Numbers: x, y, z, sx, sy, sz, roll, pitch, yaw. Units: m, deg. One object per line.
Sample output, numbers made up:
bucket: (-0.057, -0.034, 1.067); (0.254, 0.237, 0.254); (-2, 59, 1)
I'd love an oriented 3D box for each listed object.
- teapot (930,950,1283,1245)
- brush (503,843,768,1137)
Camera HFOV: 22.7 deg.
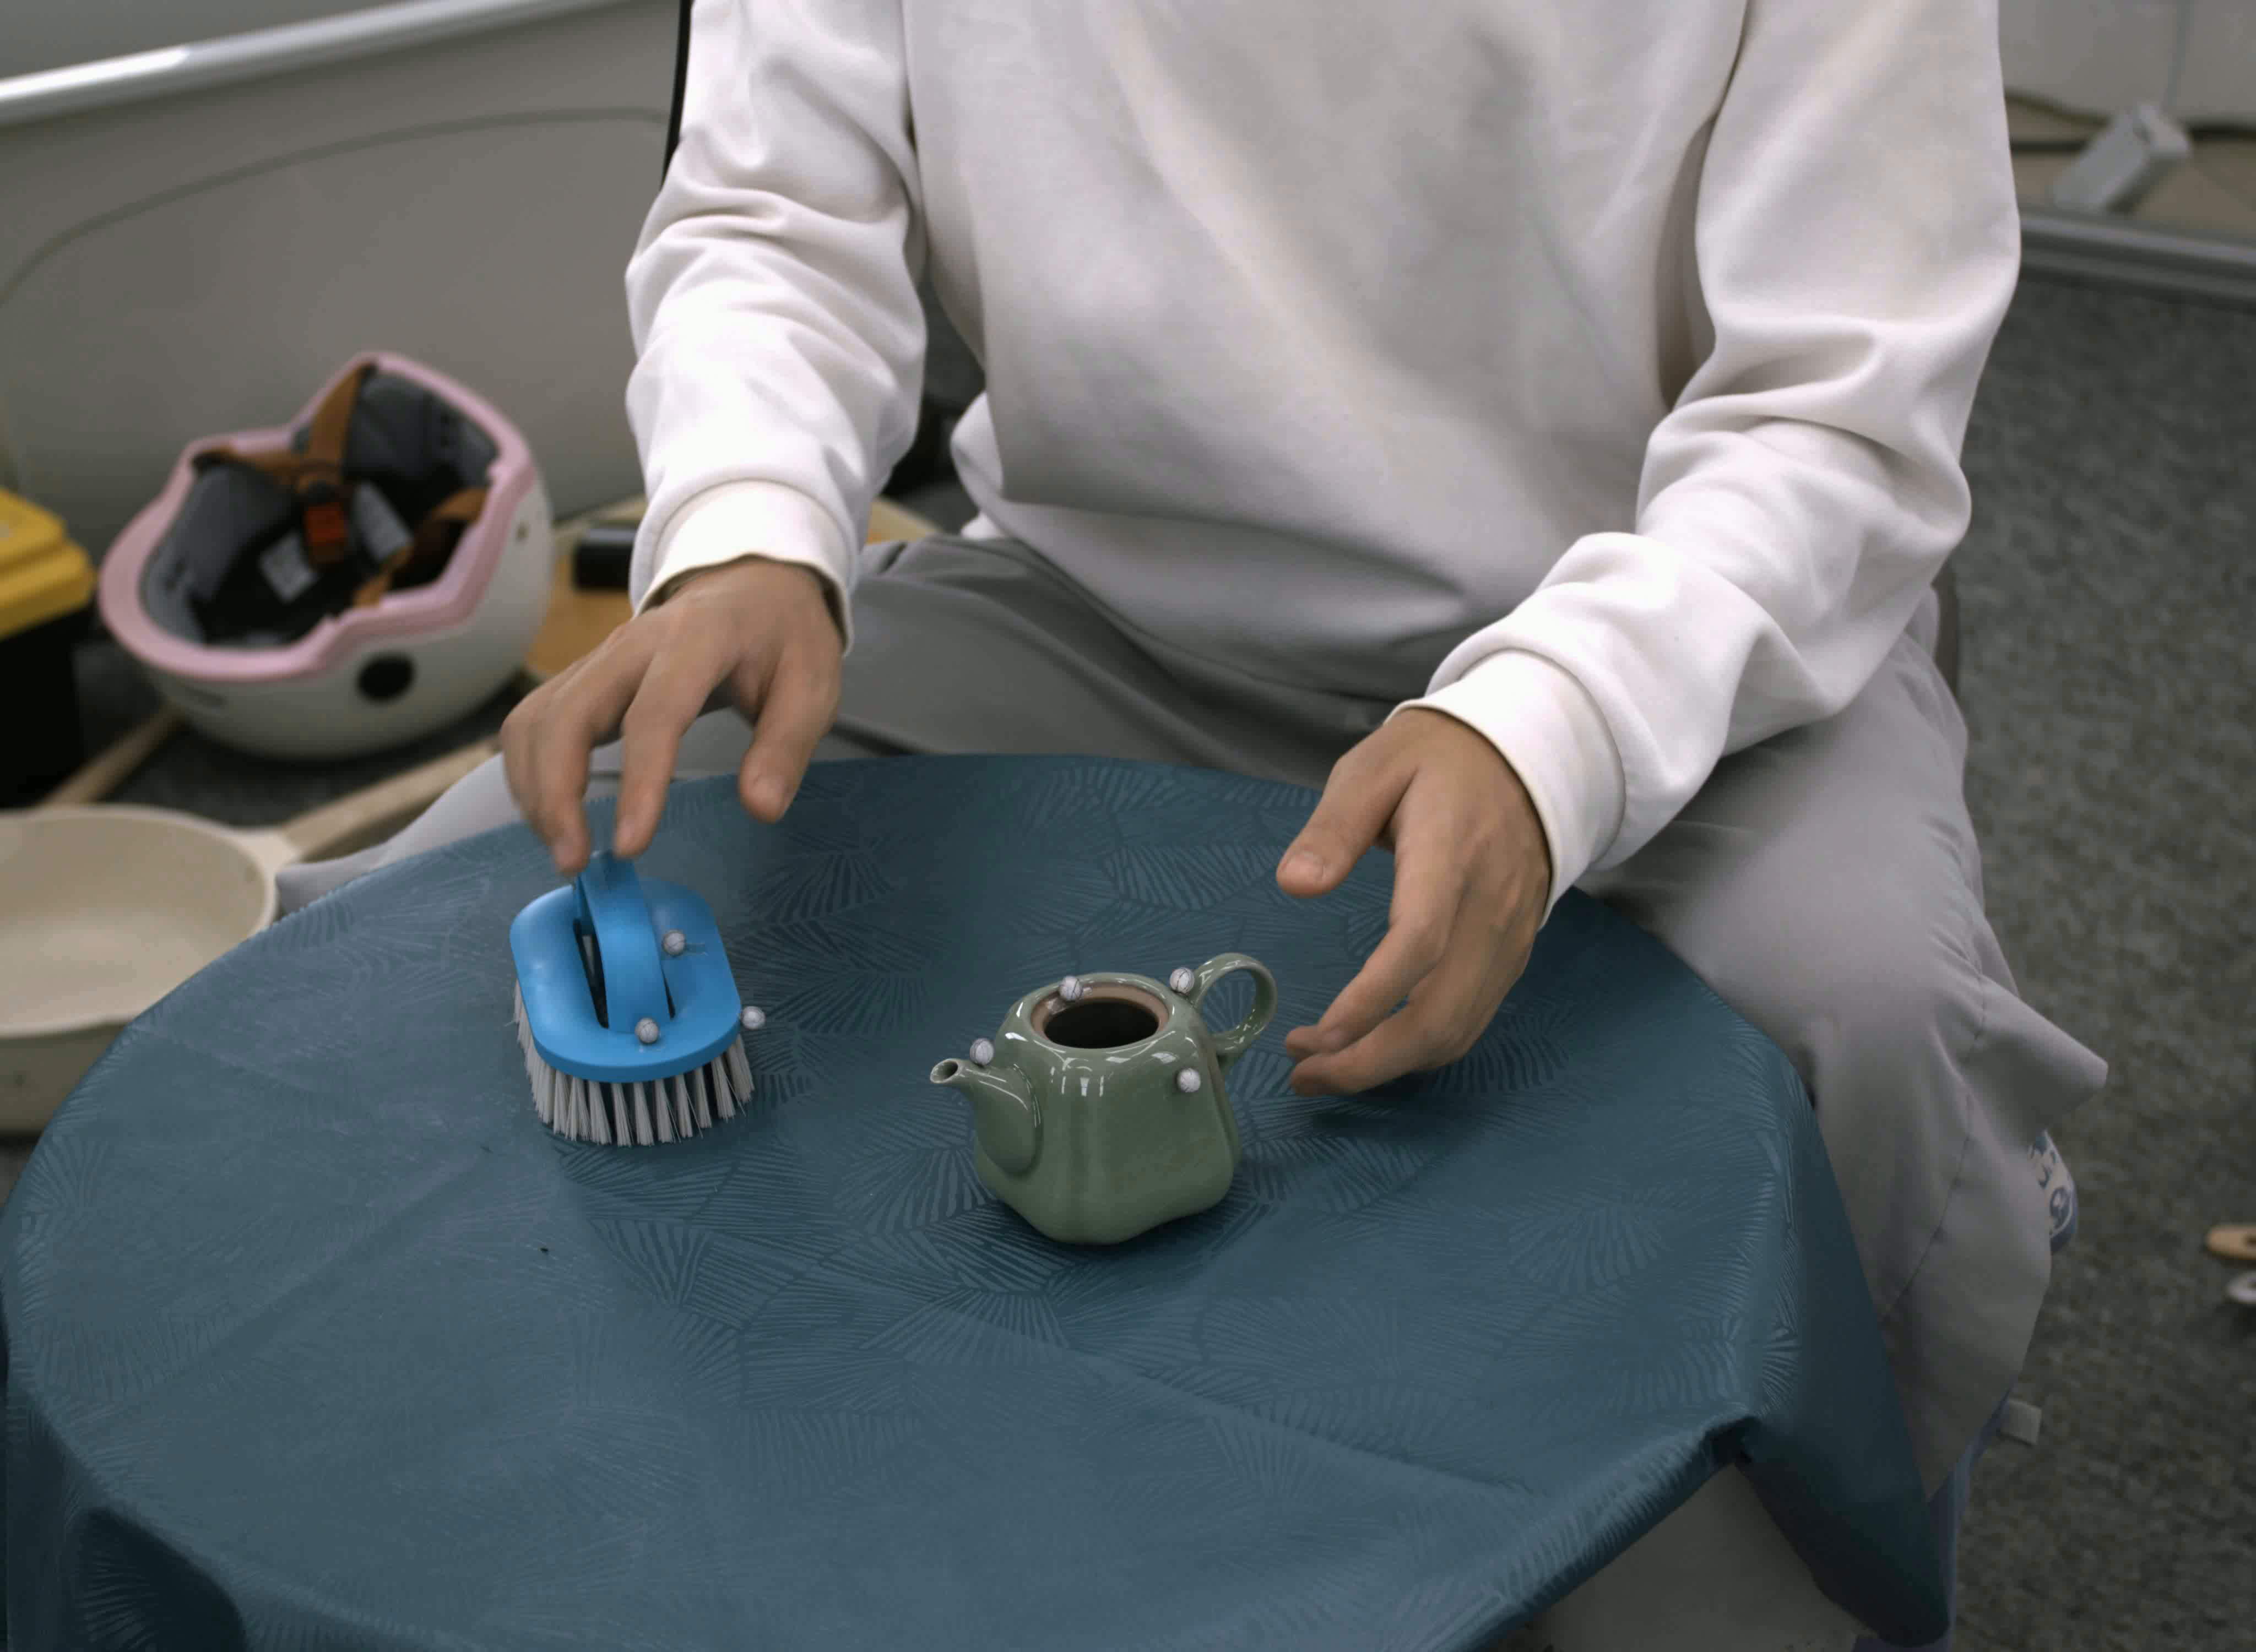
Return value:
teapot: (-0.006, 0.090, 1.847); (0.133, 0.074, 0.080); (-18, 31, -28)
brush: (-0.175, 0.048, 1.951); (0.084, 0.063, 0.143); (-11, 27, -6)
